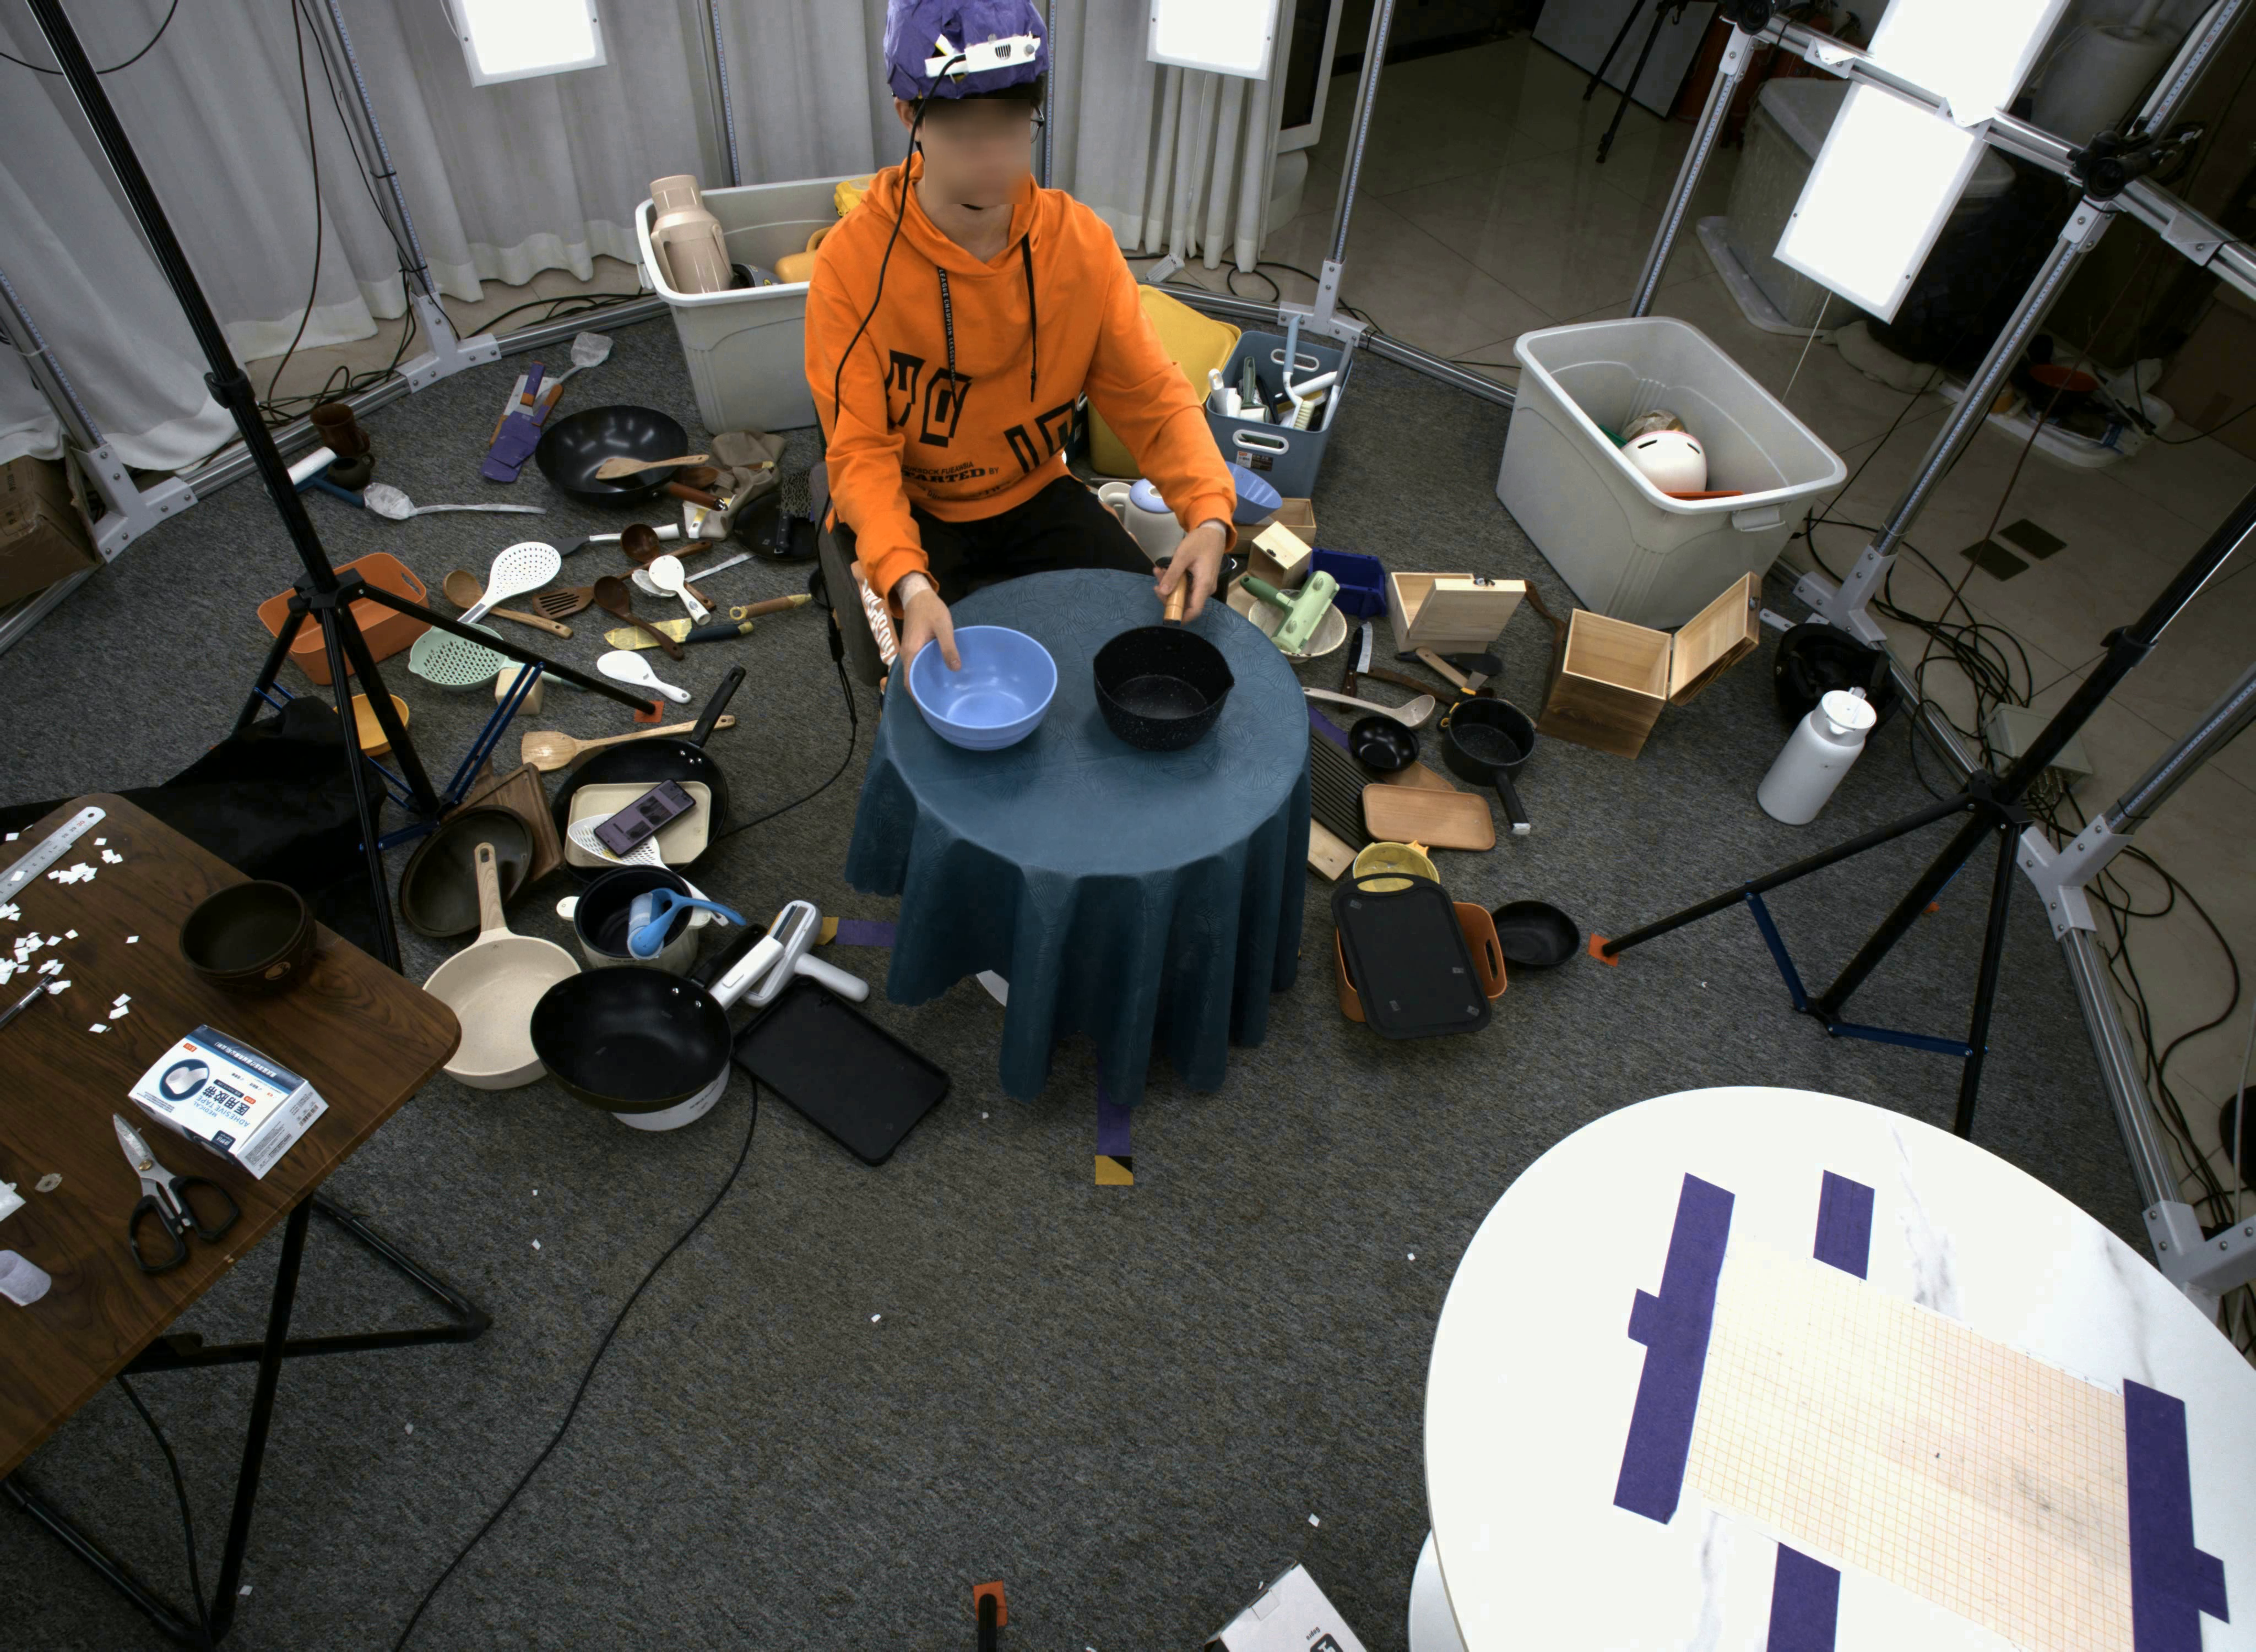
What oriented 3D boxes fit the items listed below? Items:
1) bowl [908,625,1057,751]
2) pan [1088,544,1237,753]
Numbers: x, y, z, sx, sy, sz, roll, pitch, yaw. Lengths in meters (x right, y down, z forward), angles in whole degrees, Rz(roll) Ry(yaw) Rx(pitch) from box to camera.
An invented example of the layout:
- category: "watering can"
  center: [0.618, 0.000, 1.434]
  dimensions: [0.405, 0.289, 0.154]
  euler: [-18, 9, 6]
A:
- category: "bowl"
  center: [-0.195, -0.172, 1.743]
  dimensions: [0.196, 0.093, 0.201]
  euler: [1, 50, -2]
- category: "pan"
  center: [0.055, -0.253, 1.822]
  dimensions: [0.207, 0.105, 0.351]
  euler: [7, 50, 3]
